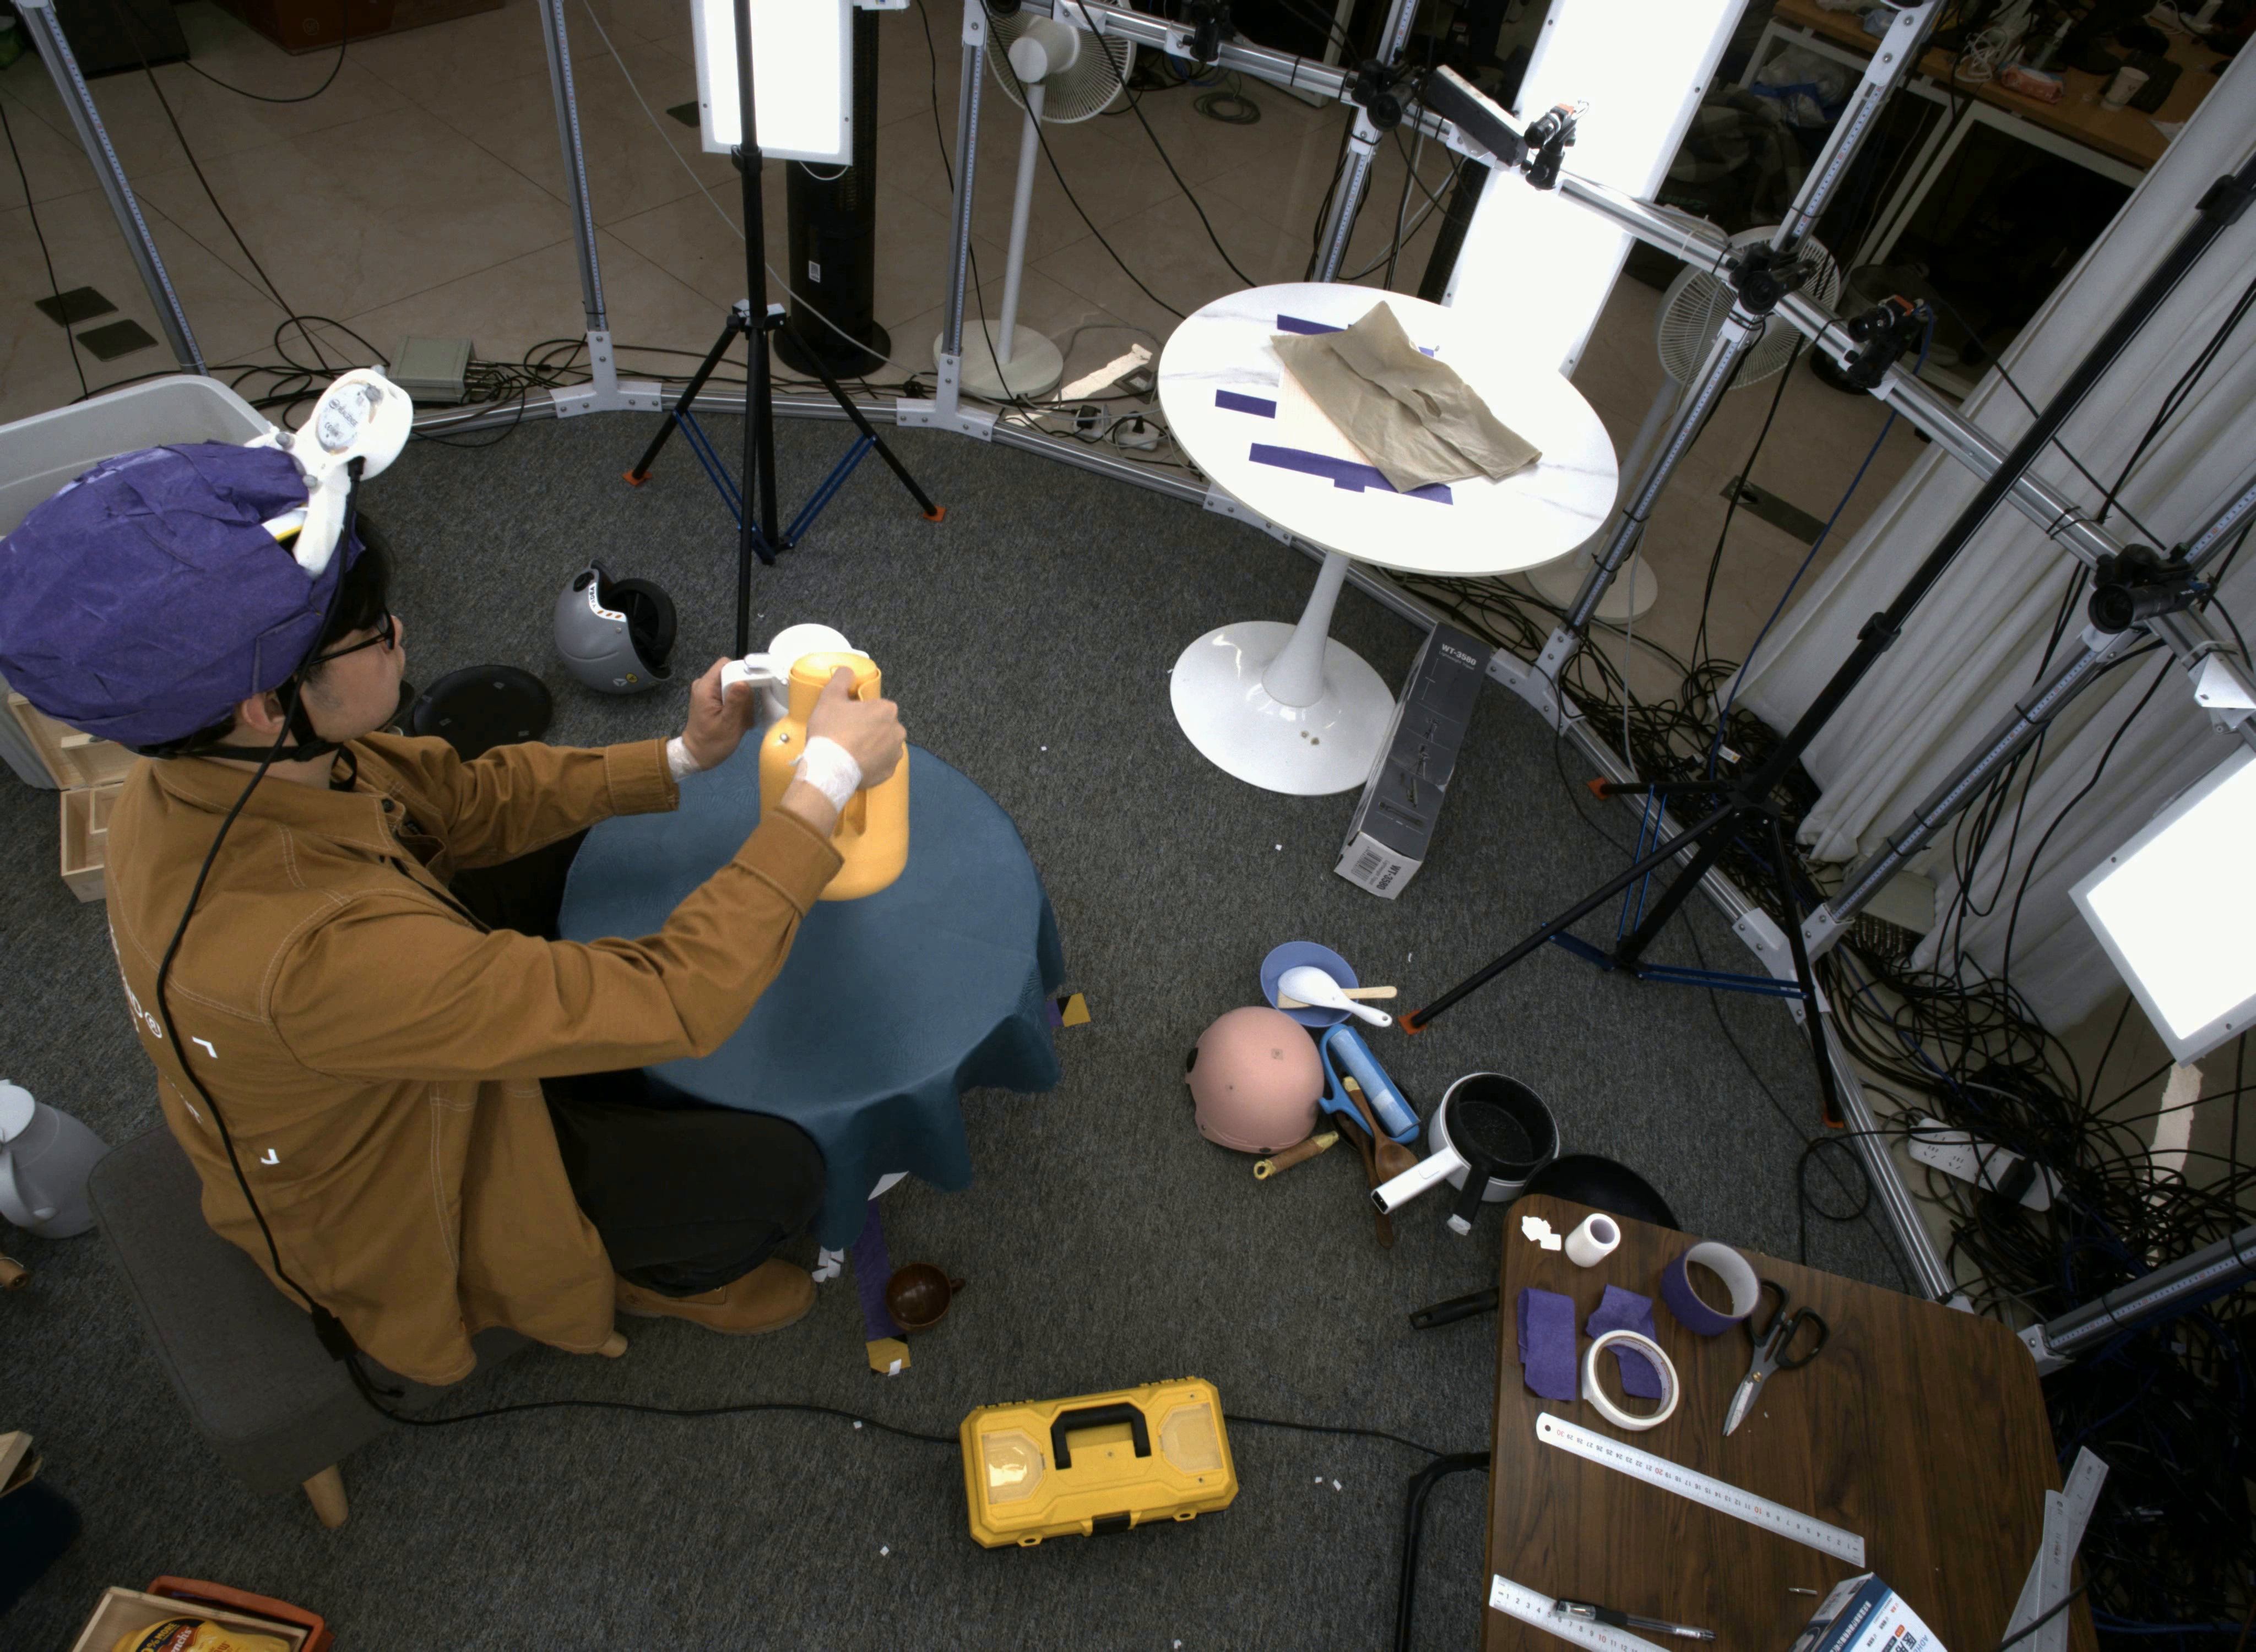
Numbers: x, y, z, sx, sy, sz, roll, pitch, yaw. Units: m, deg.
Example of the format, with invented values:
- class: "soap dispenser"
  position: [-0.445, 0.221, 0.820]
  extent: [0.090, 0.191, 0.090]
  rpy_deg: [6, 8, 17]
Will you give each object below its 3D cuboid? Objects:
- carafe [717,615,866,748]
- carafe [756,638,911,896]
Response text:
- class: "carafe"
  position: [-0.407, -0.126, 1.581]
  extent: [0.173, 0.273, 0.121]
  rpy_deg: [-7, 61, -17]
- class: "carafe"
  position: [-0.314, -0.059, 1.384]
  extent: [0.164, 0.268, 0.196]
  rpy_deg: [-7, 26, -19]
